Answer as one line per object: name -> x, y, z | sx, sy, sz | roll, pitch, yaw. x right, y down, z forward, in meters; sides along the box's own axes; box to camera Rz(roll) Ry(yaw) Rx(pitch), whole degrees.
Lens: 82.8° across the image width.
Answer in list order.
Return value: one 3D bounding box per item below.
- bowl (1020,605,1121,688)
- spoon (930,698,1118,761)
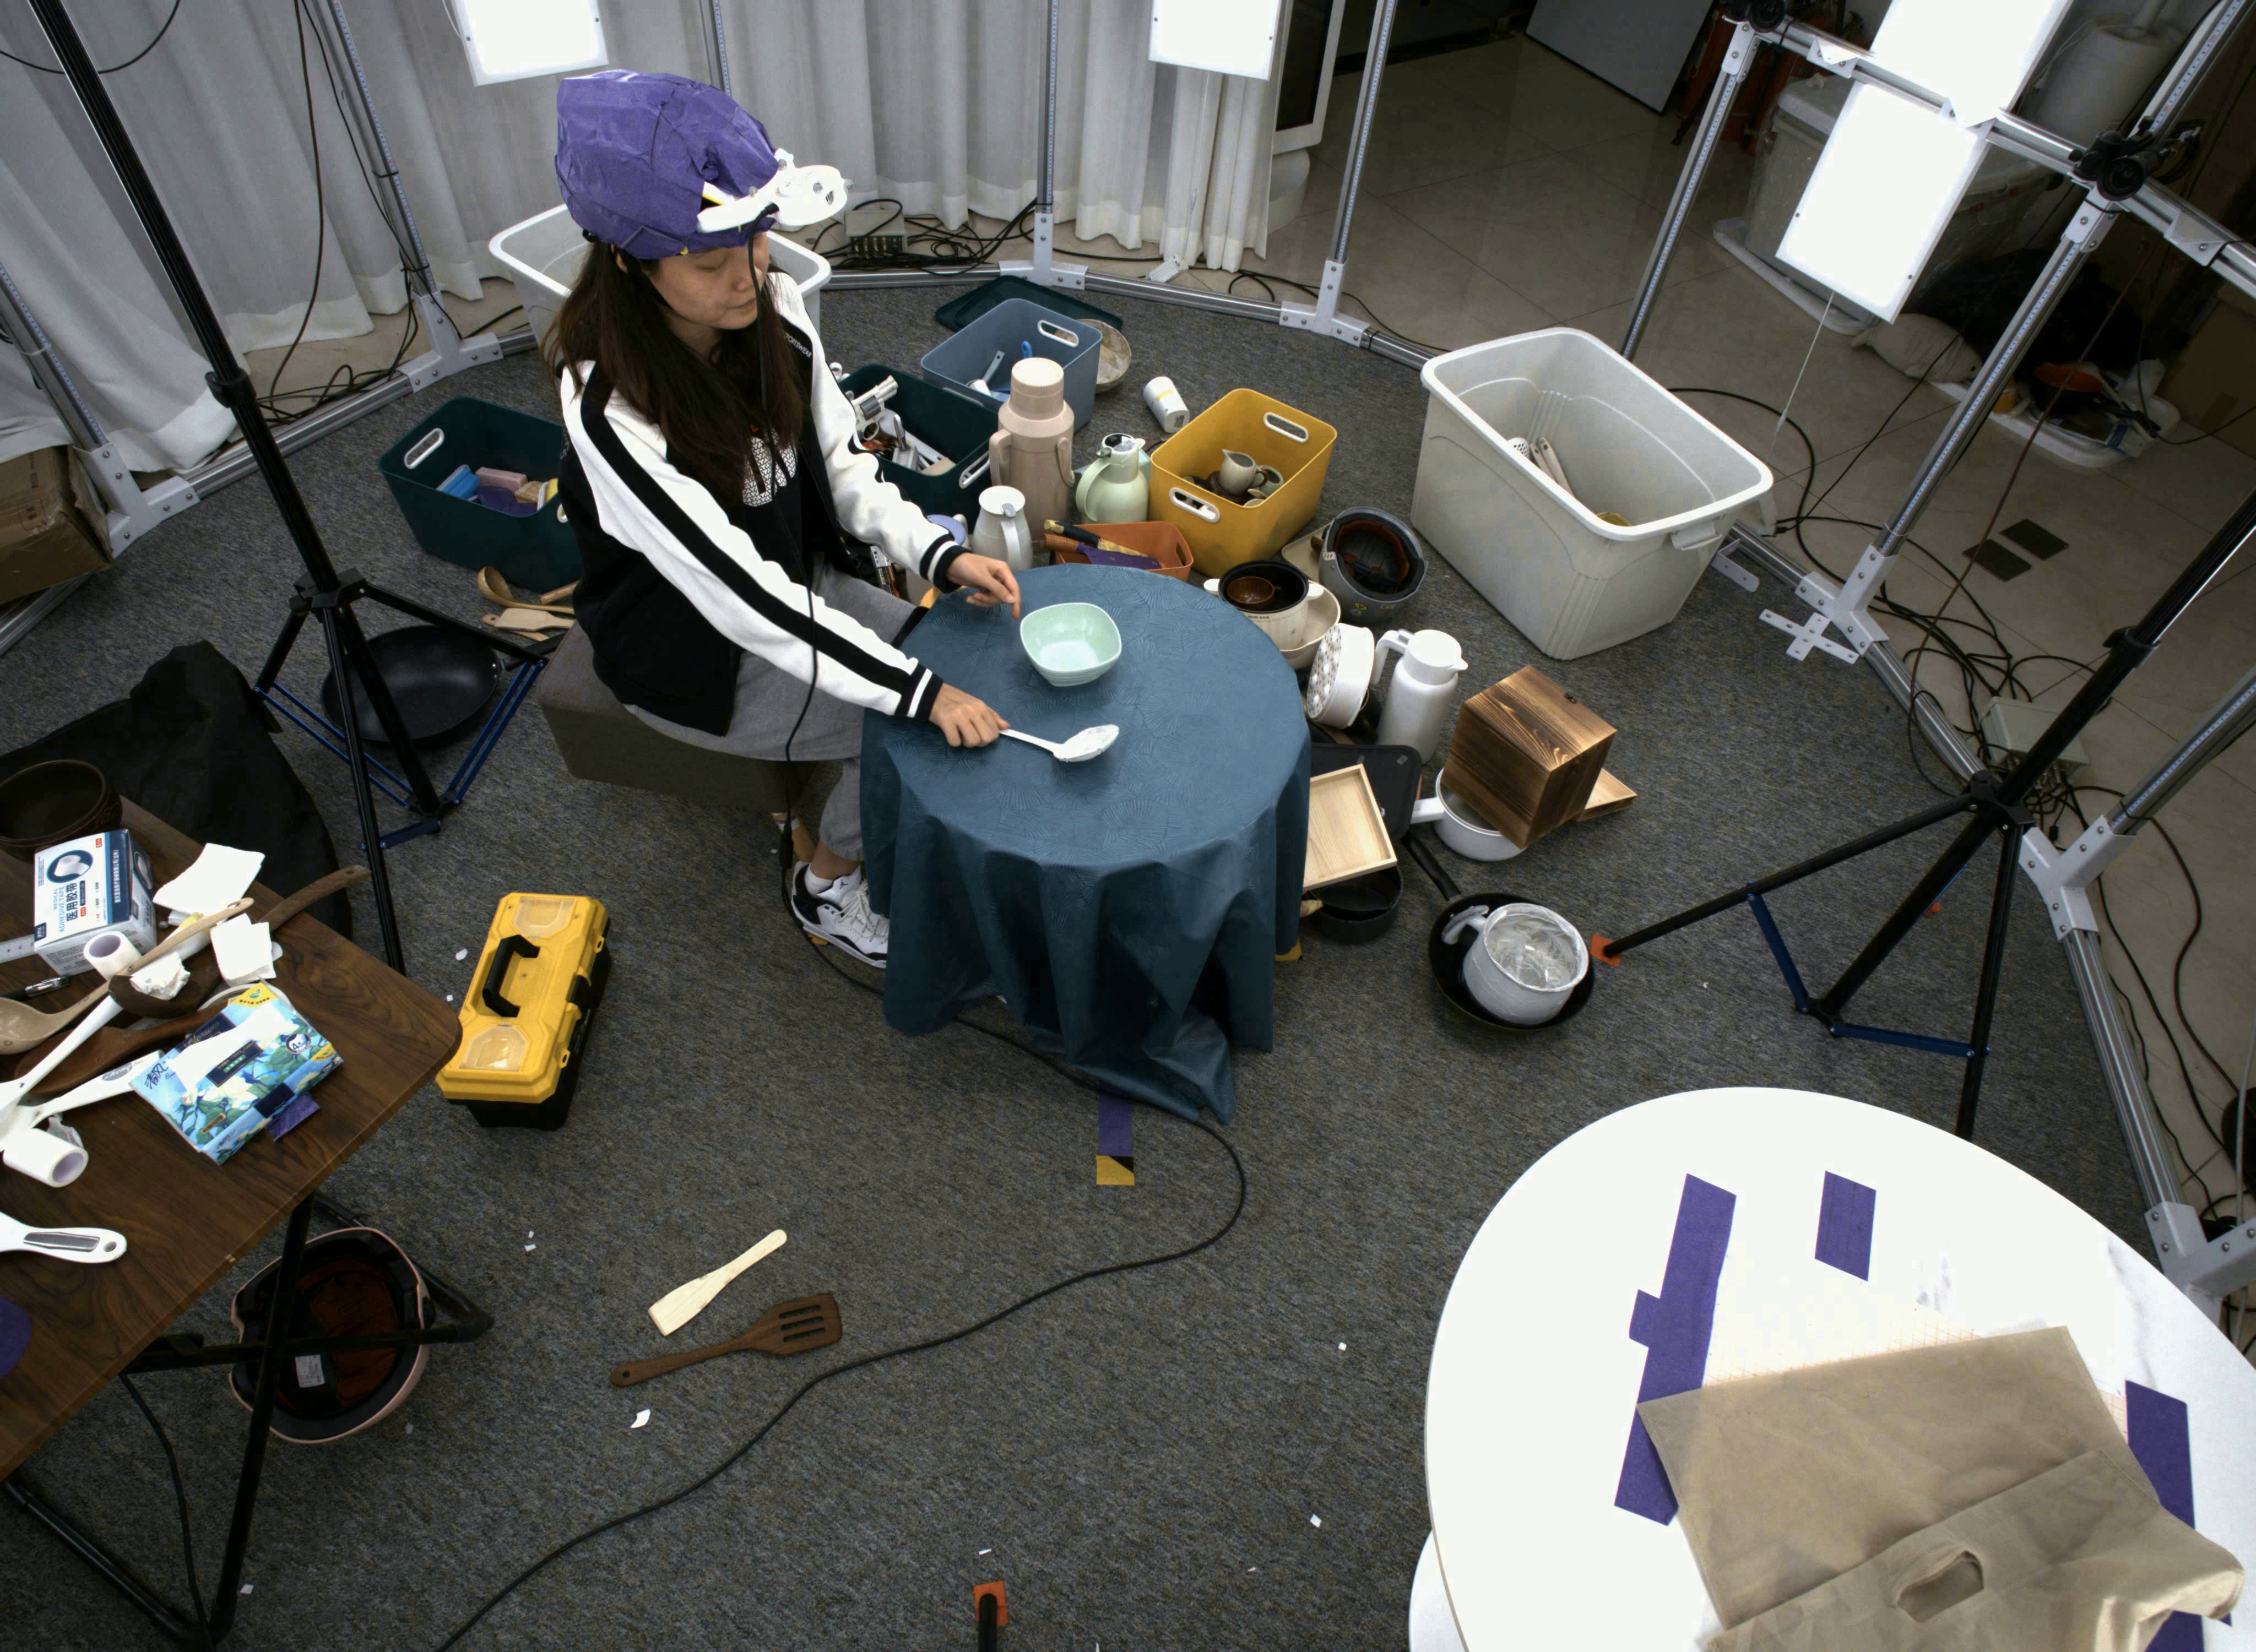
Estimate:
bowl -> -0.084, -0.250, 1.848 | 0.151, 0.057, 0.155 | 2, 49, -2
spoon -> -0.145, -0.150, 1.755 | 0.279, 0.058, 0.102 | 22, 32, 16
